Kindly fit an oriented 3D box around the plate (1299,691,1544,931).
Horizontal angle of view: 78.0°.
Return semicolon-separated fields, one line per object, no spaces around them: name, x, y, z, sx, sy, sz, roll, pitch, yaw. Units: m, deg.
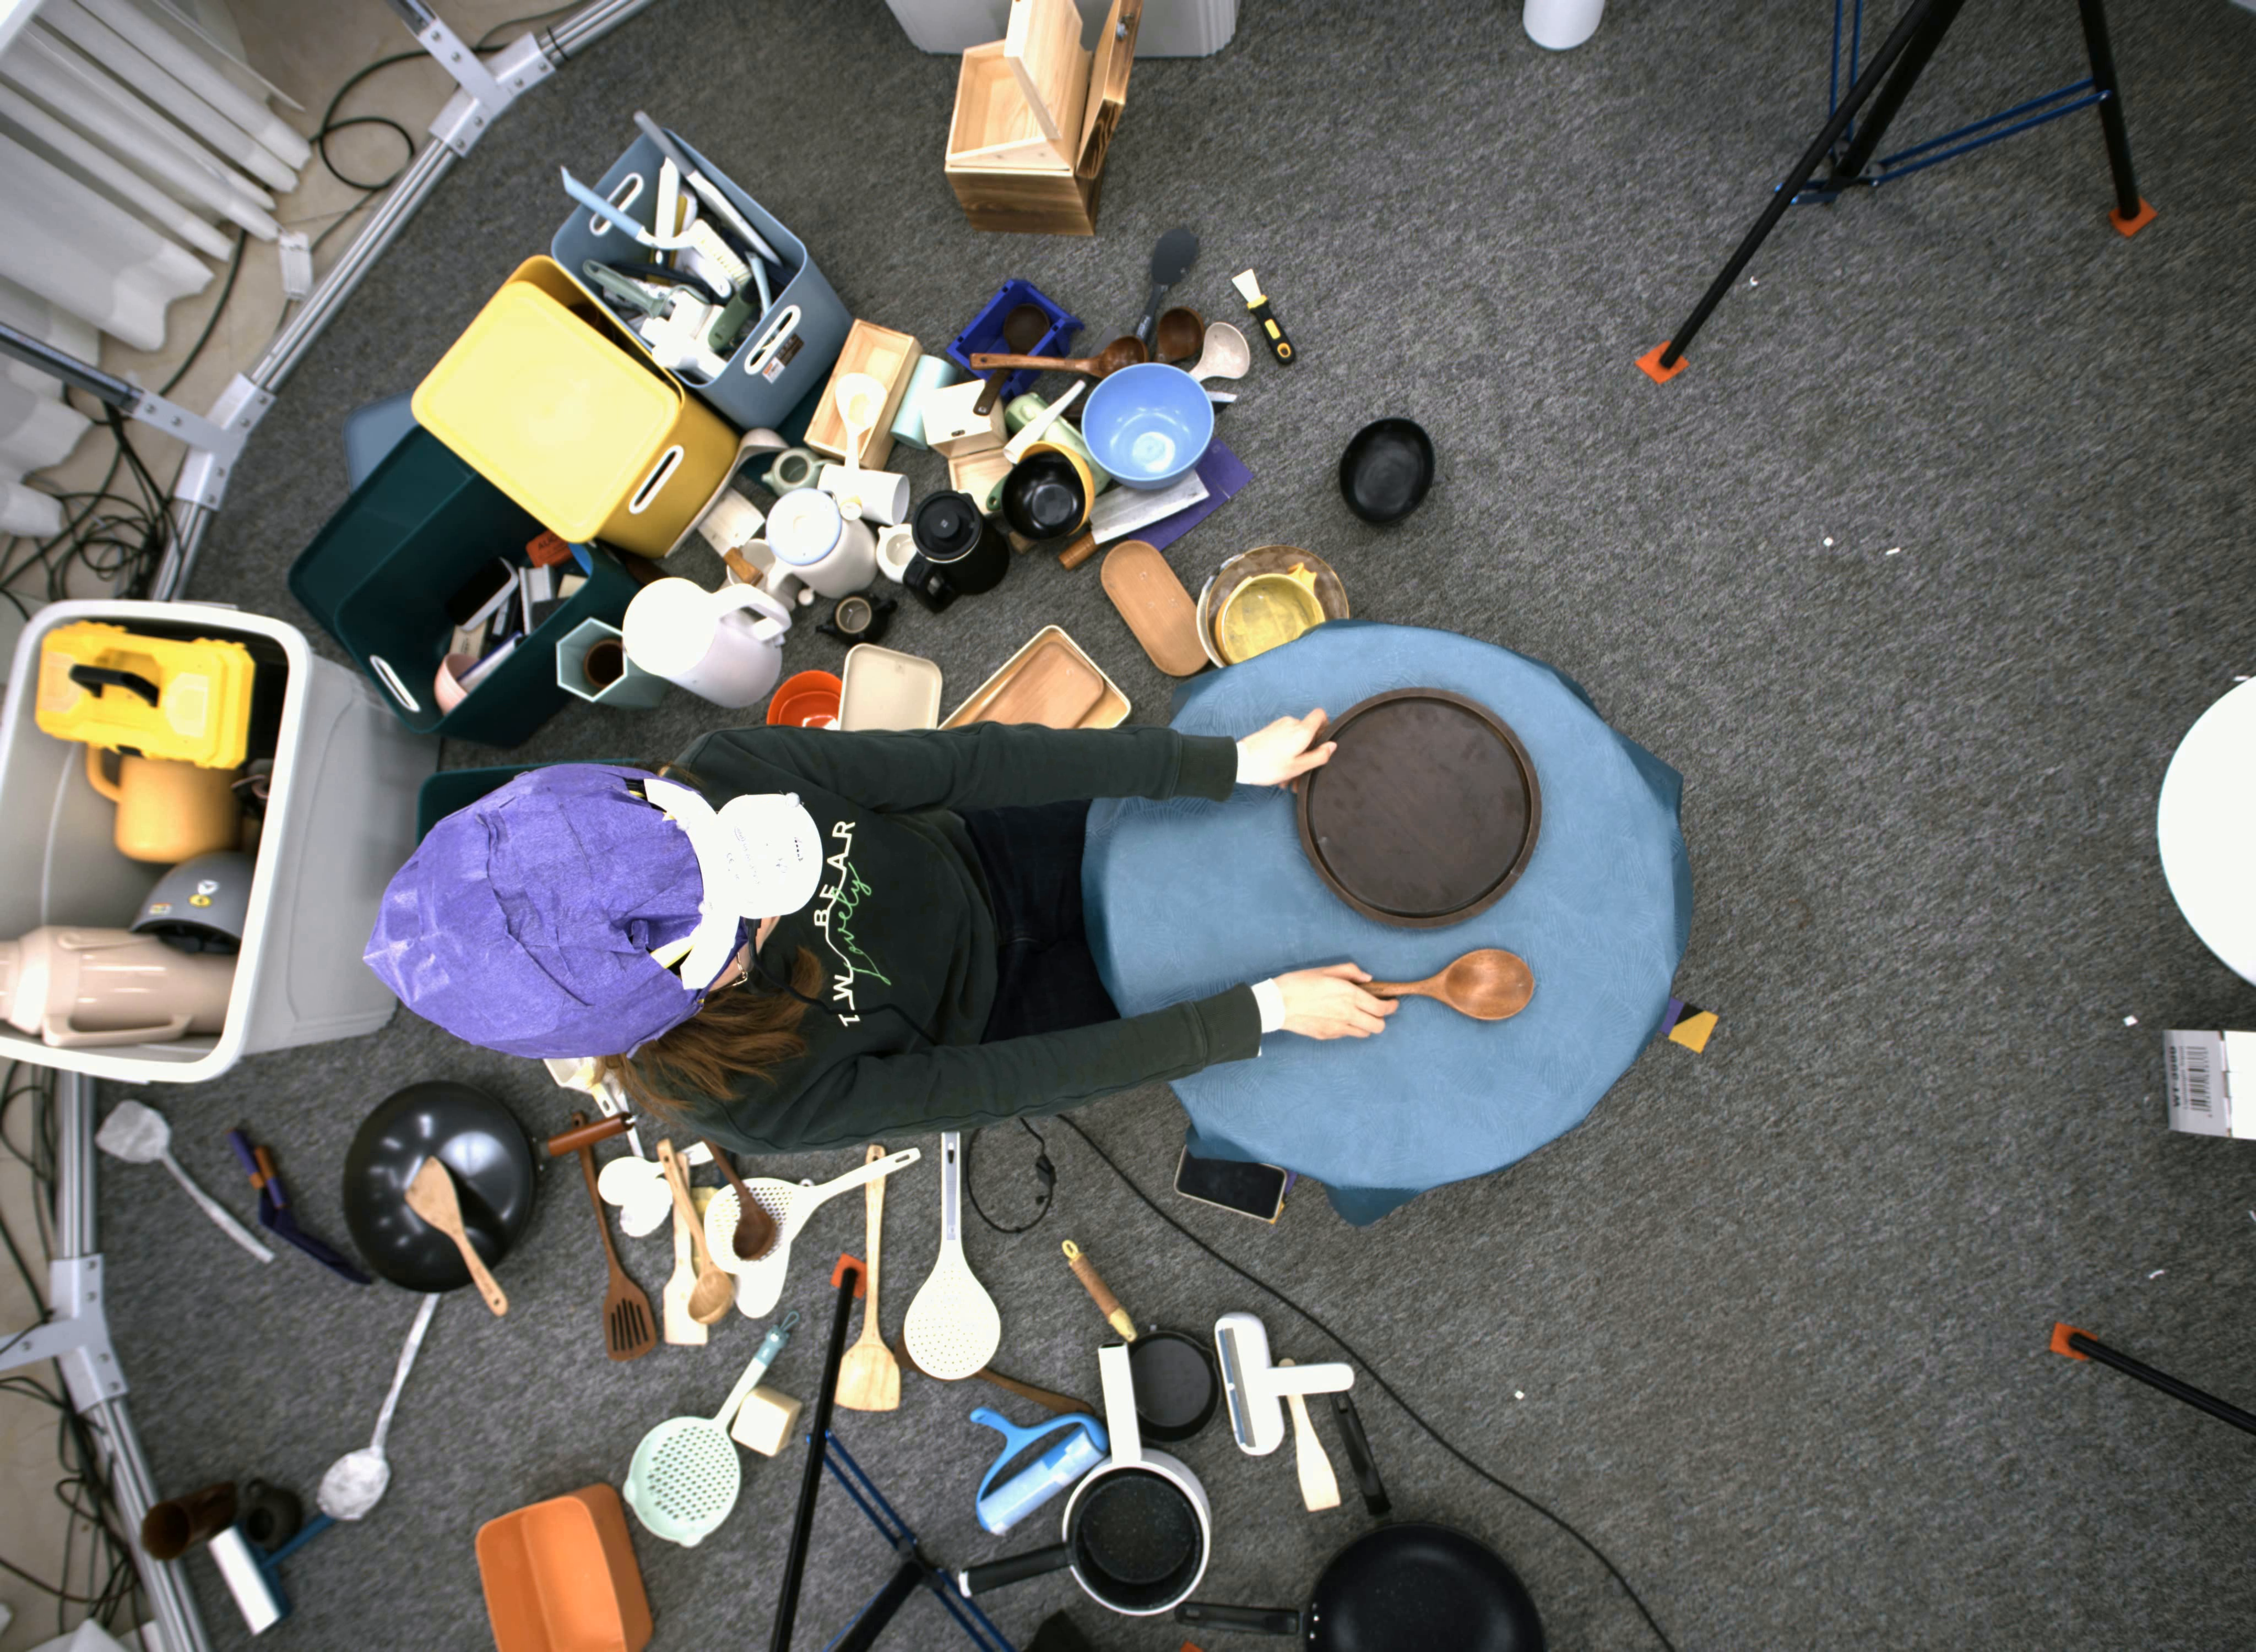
plate;0.307;-0.018;1.446;0.255;0.029;0.254;0;88;6

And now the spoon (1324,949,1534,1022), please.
spoon;0.313;0.169;1.439;0.217;0.017;0.075;-5;83;8
